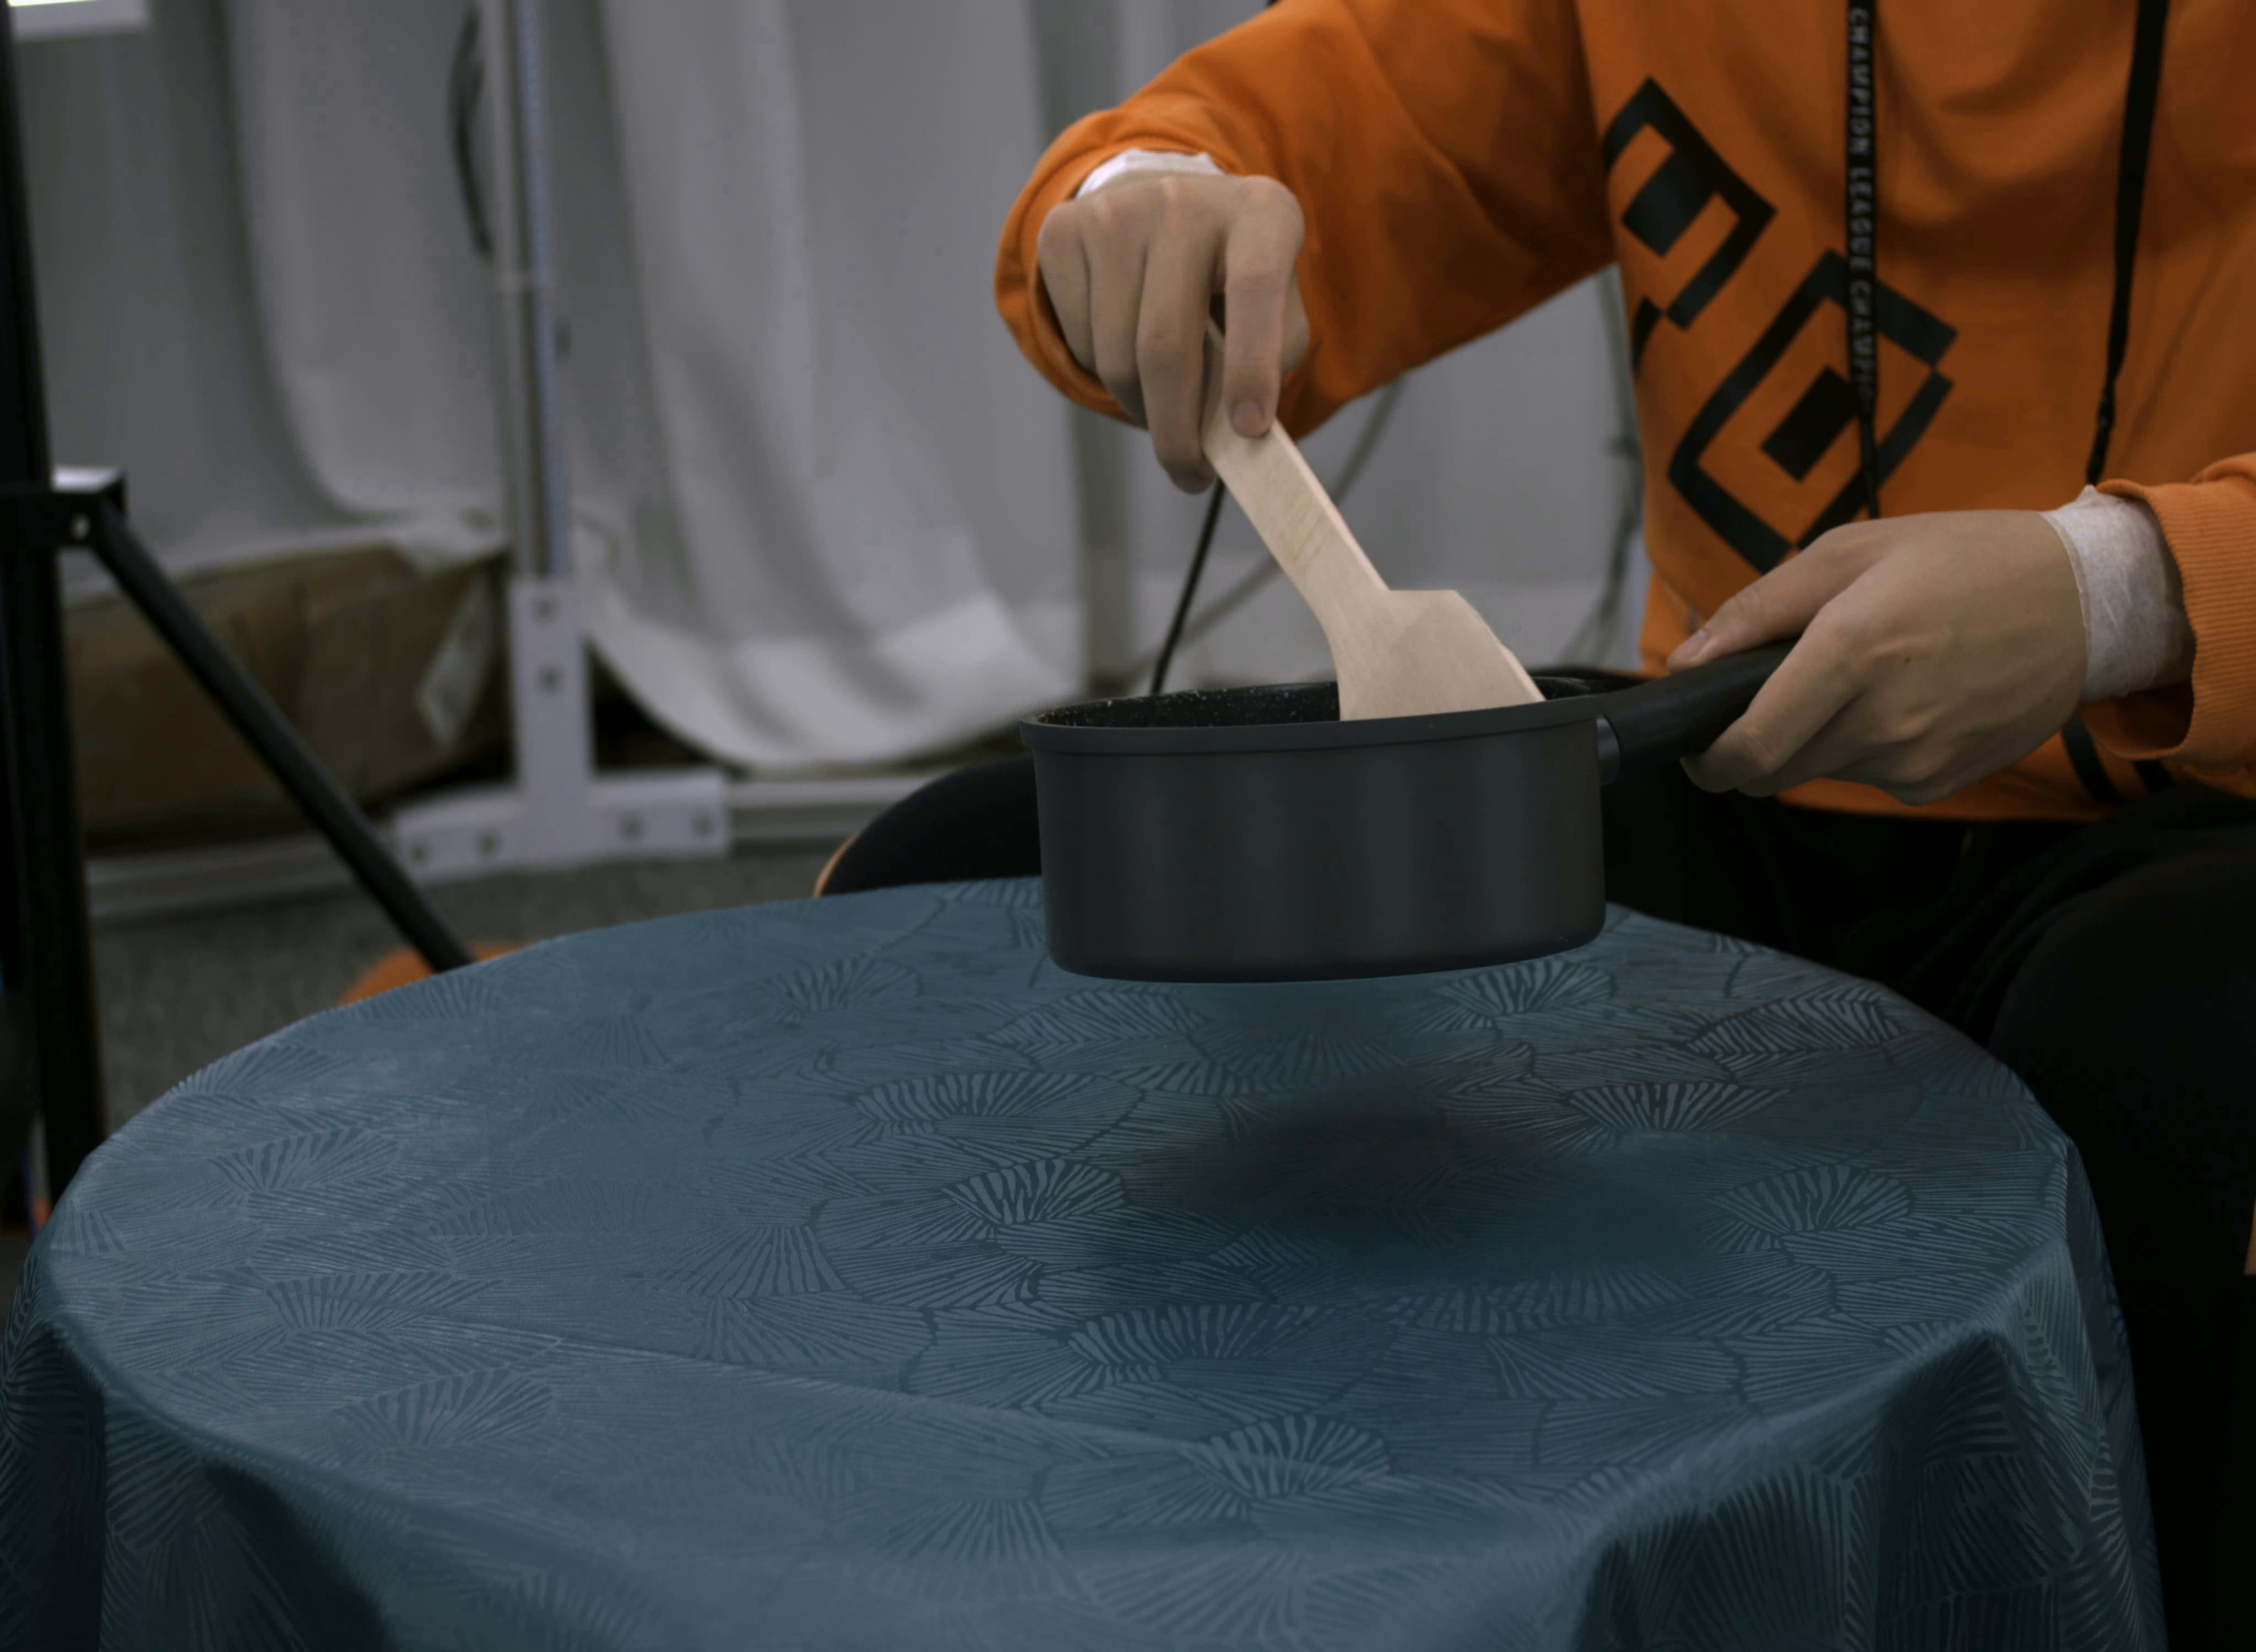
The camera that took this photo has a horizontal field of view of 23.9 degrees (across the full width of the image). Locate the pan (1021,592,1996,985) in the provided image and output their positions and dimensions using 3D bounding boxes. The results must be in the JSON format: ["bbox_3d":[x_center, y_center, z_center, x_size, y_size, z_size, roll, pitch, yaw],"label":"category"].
[{"bbox_3d":[0.123,-0.011,1.579,0.321,0.087,0.175,-8,7,-28],"label":"pan"}]

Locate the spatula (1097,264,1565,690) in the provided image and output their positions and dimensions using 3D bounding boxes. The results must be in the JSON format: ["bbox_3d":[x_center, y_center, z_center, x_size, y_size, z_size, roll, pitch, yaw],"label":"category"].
[{"bbox_3d":[0.053,-0.092,1.632,0.010,0.072,0.299,6,31,-32],"label":"spatula"}]
